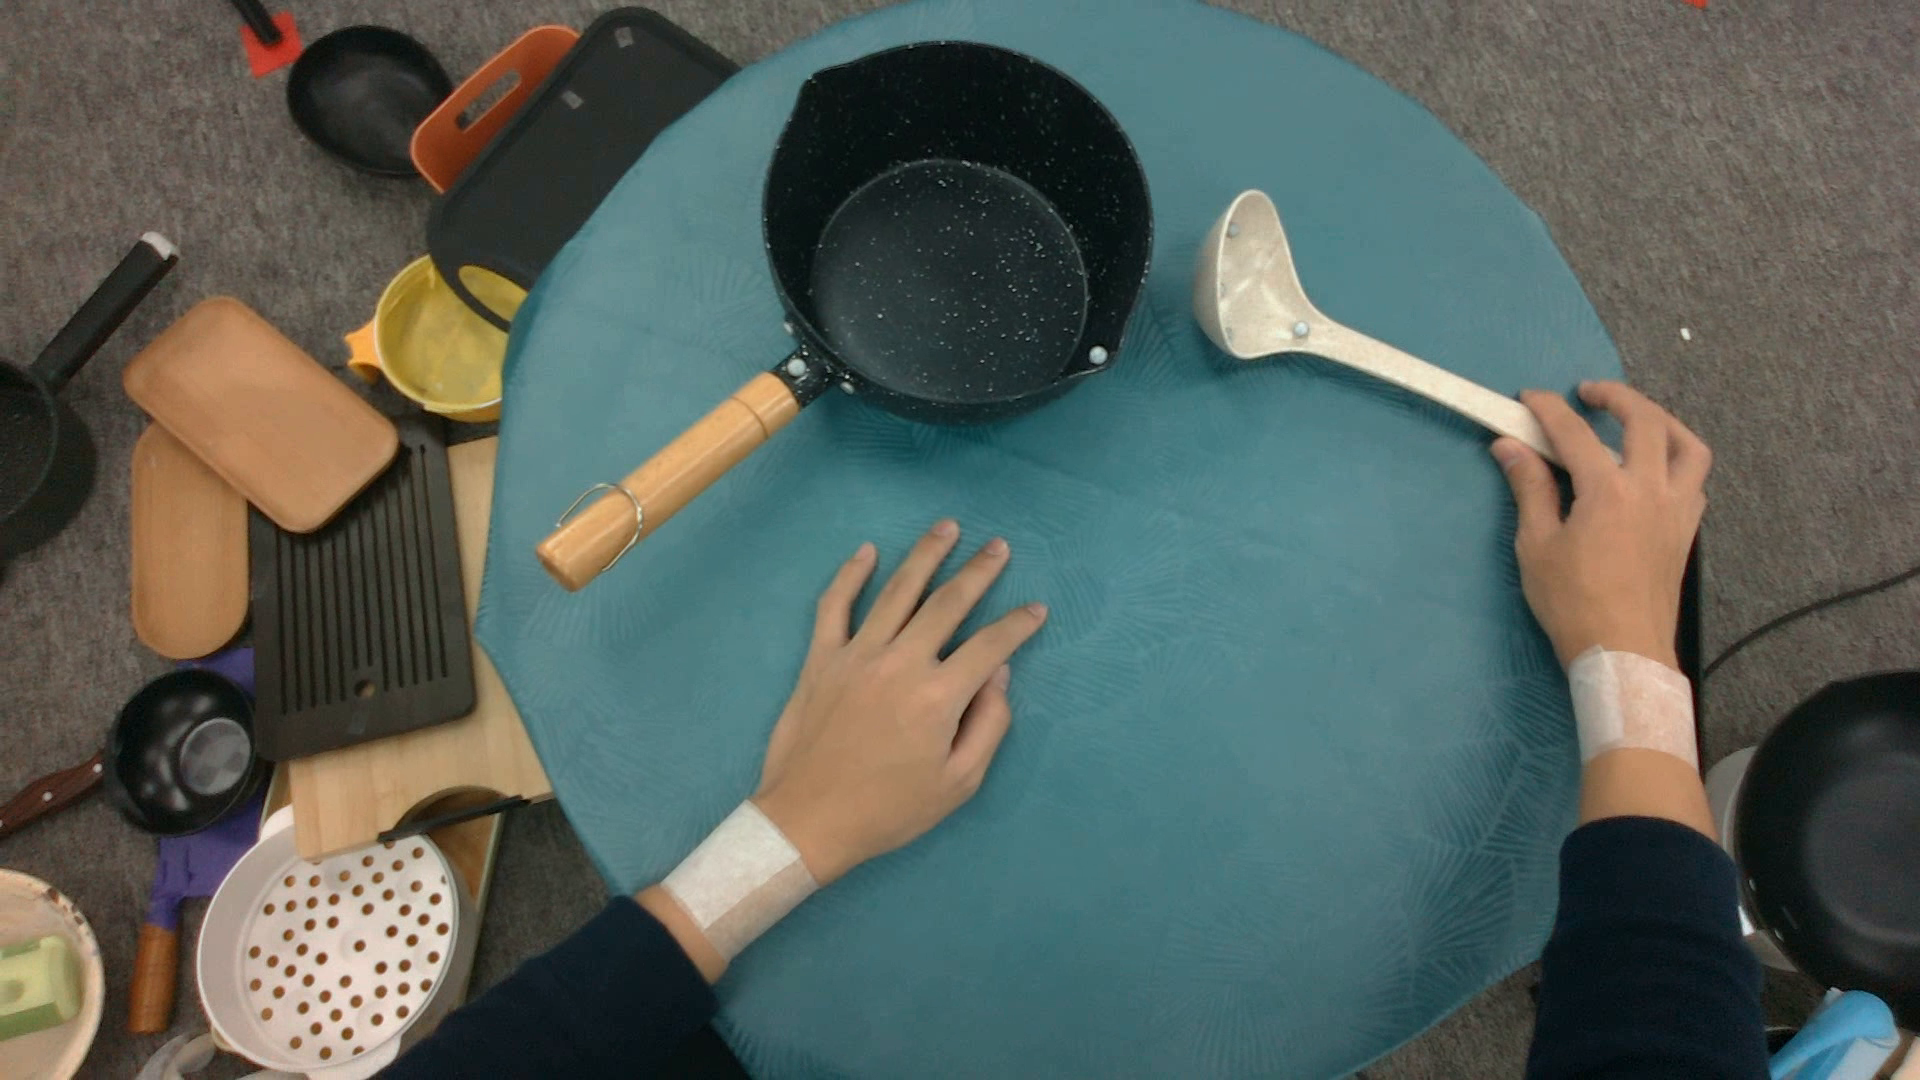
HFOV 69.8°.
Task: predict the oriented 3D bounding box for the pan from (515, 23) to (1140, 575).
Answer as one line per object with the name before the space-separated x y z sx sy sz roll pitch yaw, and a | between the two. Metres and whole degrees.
pan | -0.063 -0.096 0.654 0.207 0.108 0.343 43 76 5

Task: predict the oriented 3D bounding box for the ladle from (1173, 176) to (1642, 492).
ladle | 0.238 -0.099 0.699 0.275 0.069 0.090 23 58 1
